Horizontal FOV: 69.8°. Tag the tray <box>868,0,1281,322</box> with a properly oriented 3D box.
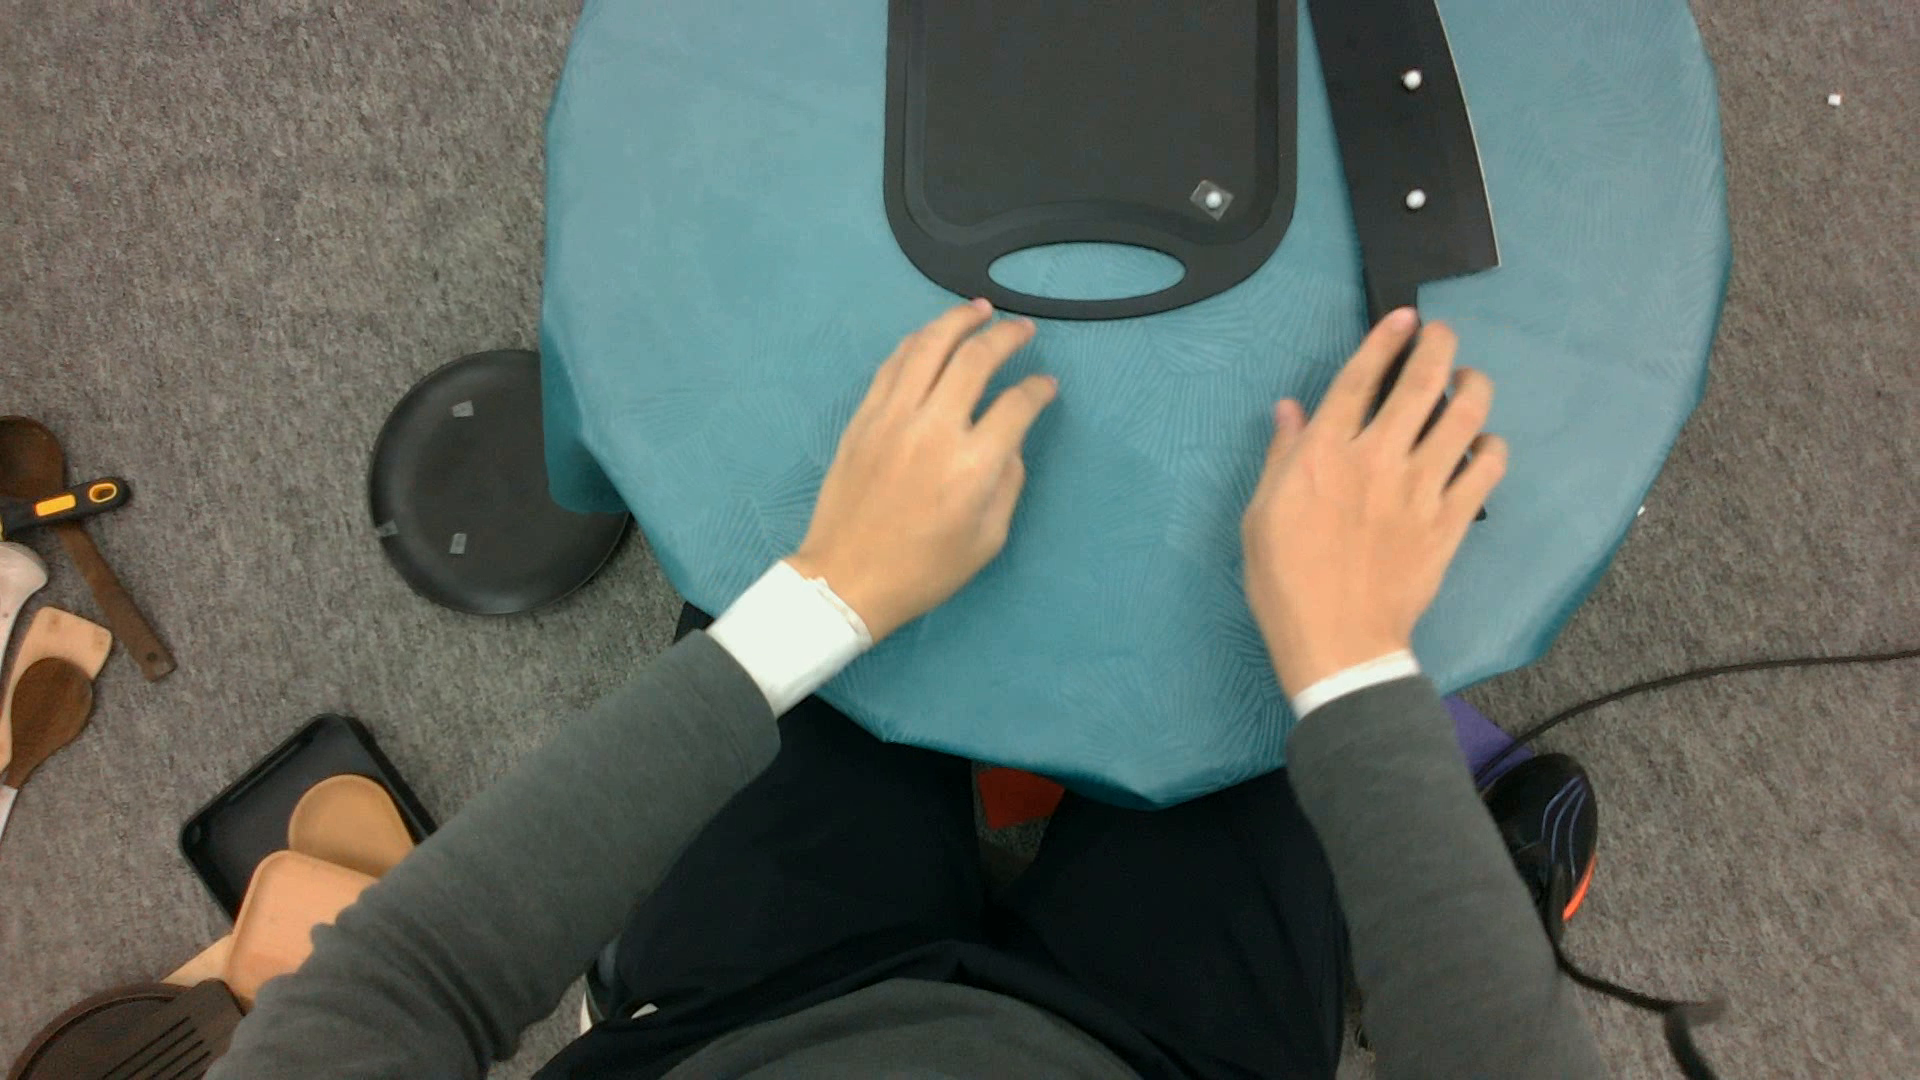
[{"bbox_3d":[0.061,-0.272,0.716,0.211,0.010,0.326,2,83,3],"label":"tray"}]

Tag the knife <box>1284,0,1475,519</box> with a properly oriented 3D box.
[{"bbox_3d":[0.218,-0.158,0.692,0.081,0.021,0.302,-6,81,0],"label":"knife"}]
